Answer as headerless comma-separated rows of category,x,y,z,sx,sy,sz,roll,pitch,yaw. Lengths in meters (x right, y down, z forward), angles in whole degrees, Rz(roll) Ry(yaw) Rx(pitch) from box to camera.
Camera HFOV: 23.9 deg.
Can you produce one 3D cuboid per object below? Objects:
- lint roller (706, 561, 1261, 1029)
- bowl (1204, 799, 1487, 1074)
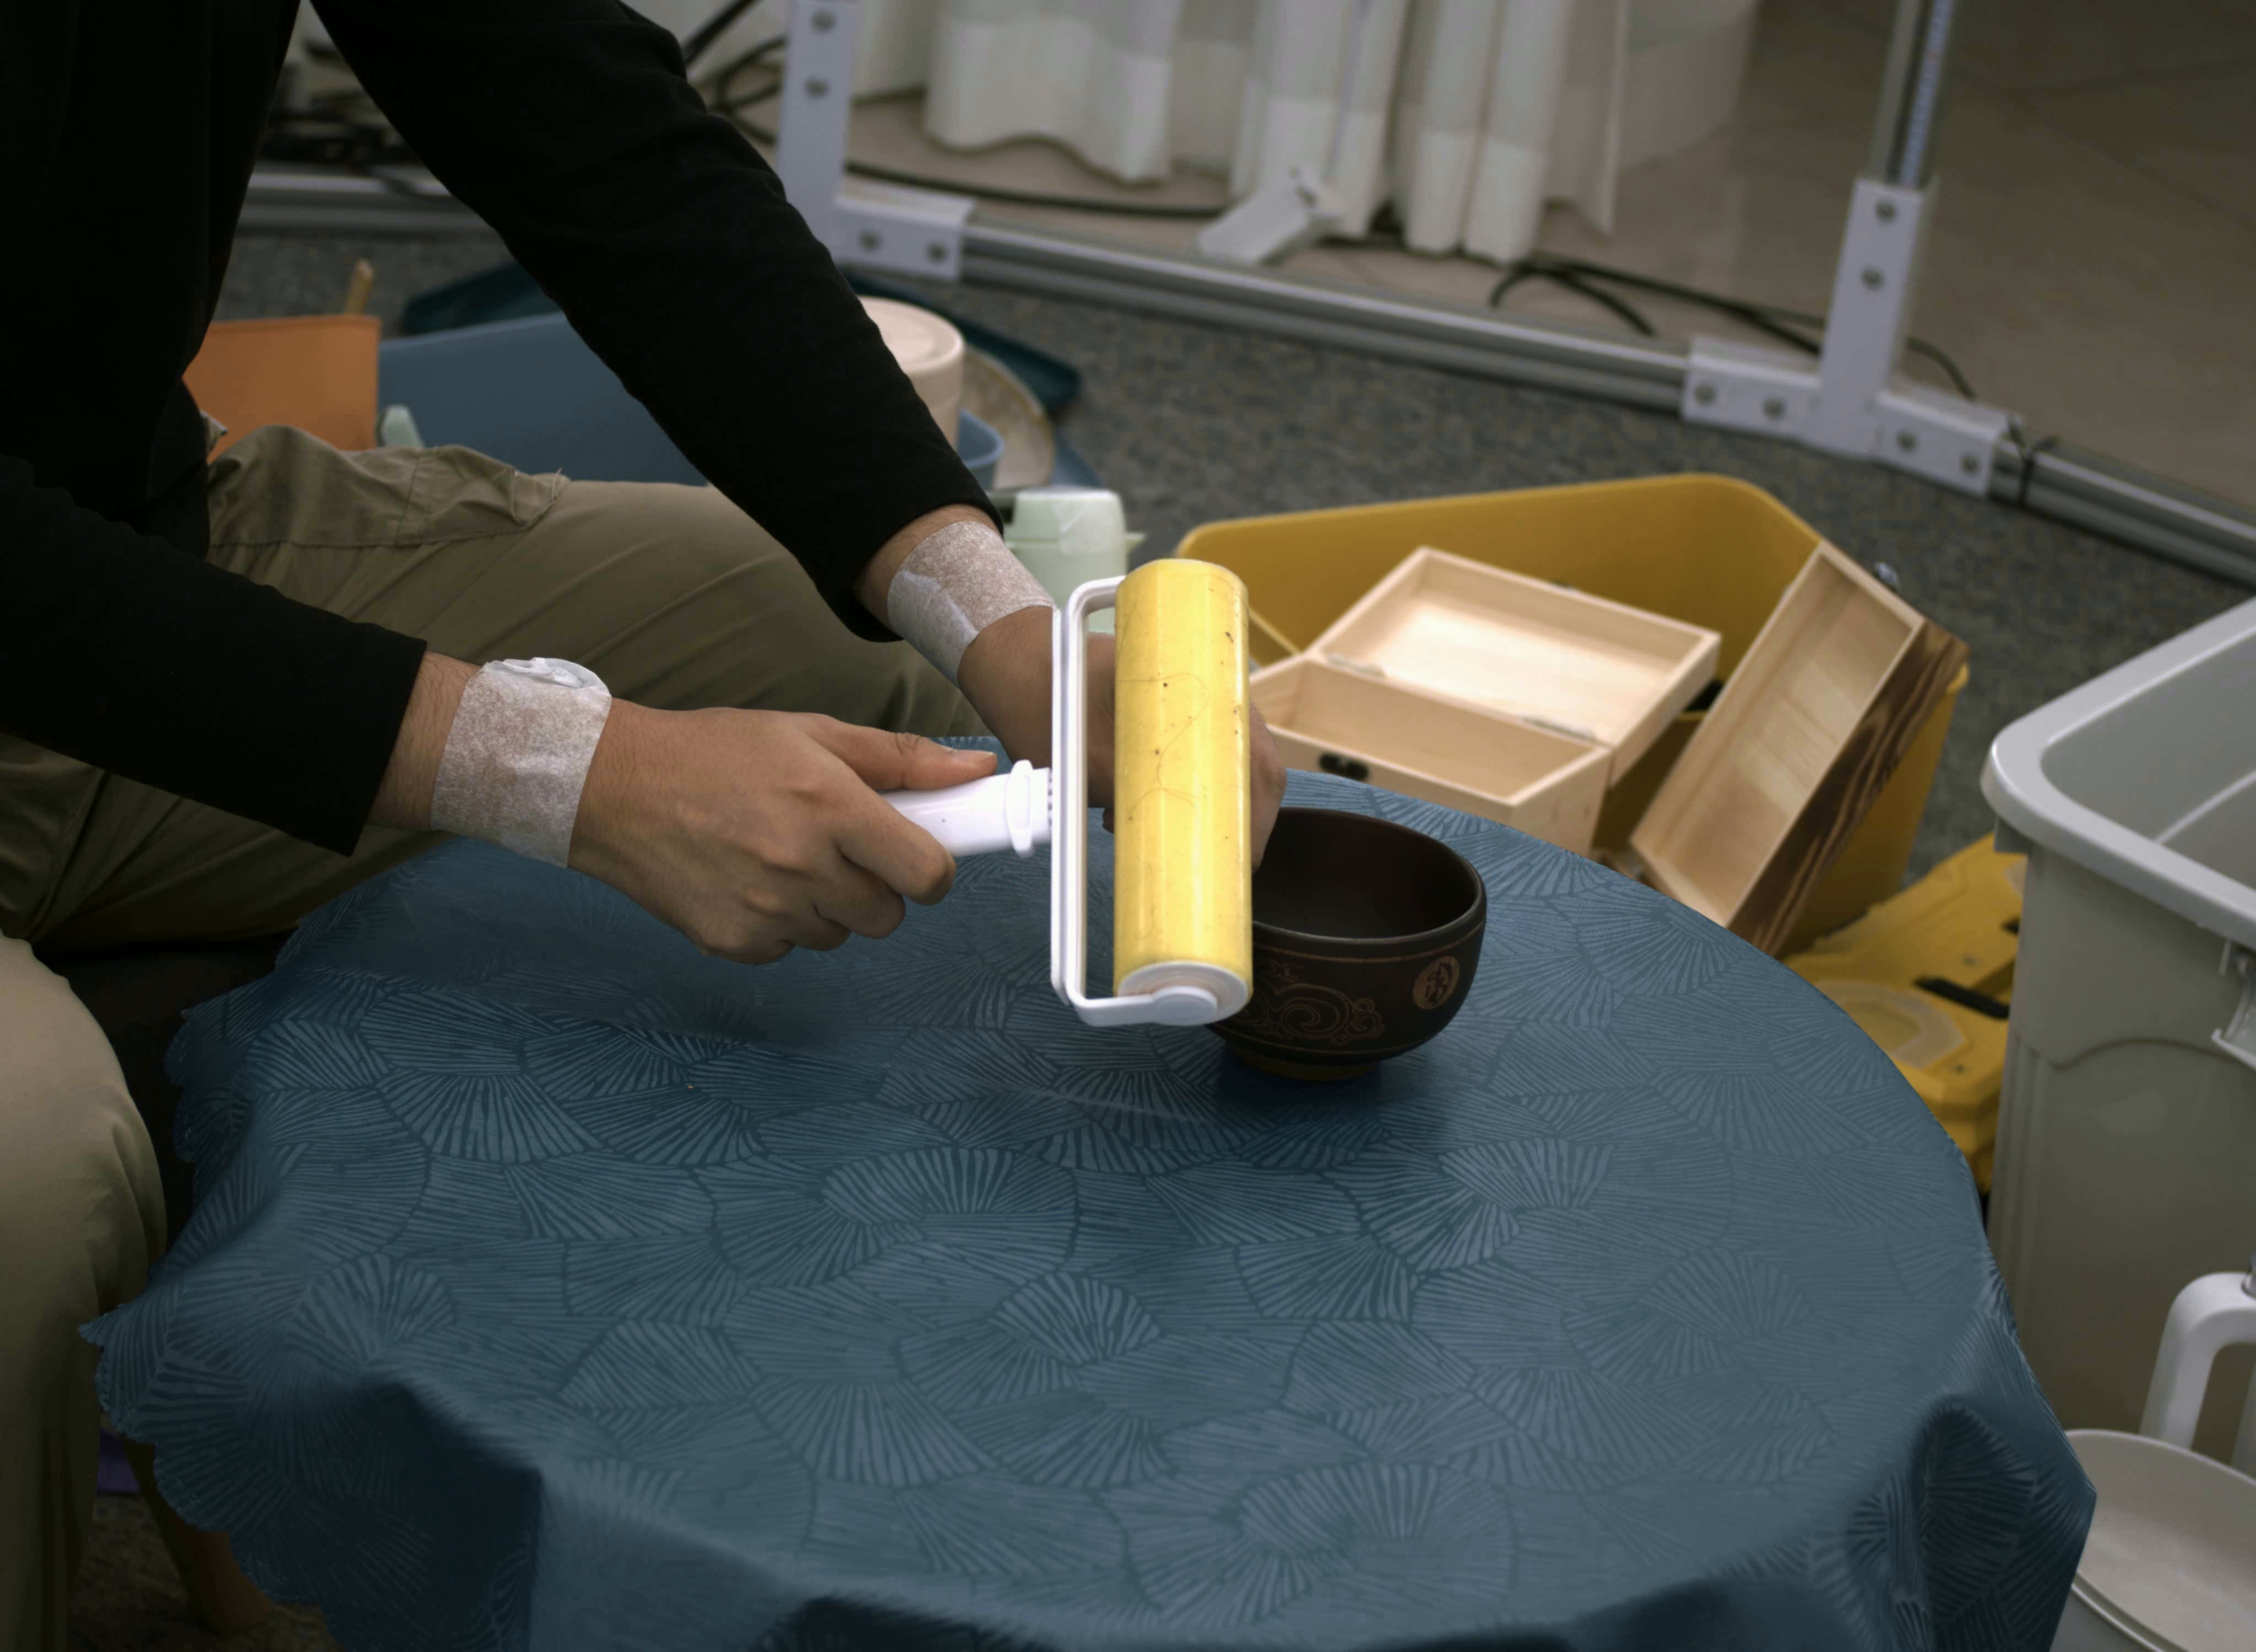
lint roller,-0.053,-0.006,1.837,0.191,0.051,0.176,-3,59,3
bowl,0.066,0.045,1.886,0.117,0.070,0.118,6,23,-3
